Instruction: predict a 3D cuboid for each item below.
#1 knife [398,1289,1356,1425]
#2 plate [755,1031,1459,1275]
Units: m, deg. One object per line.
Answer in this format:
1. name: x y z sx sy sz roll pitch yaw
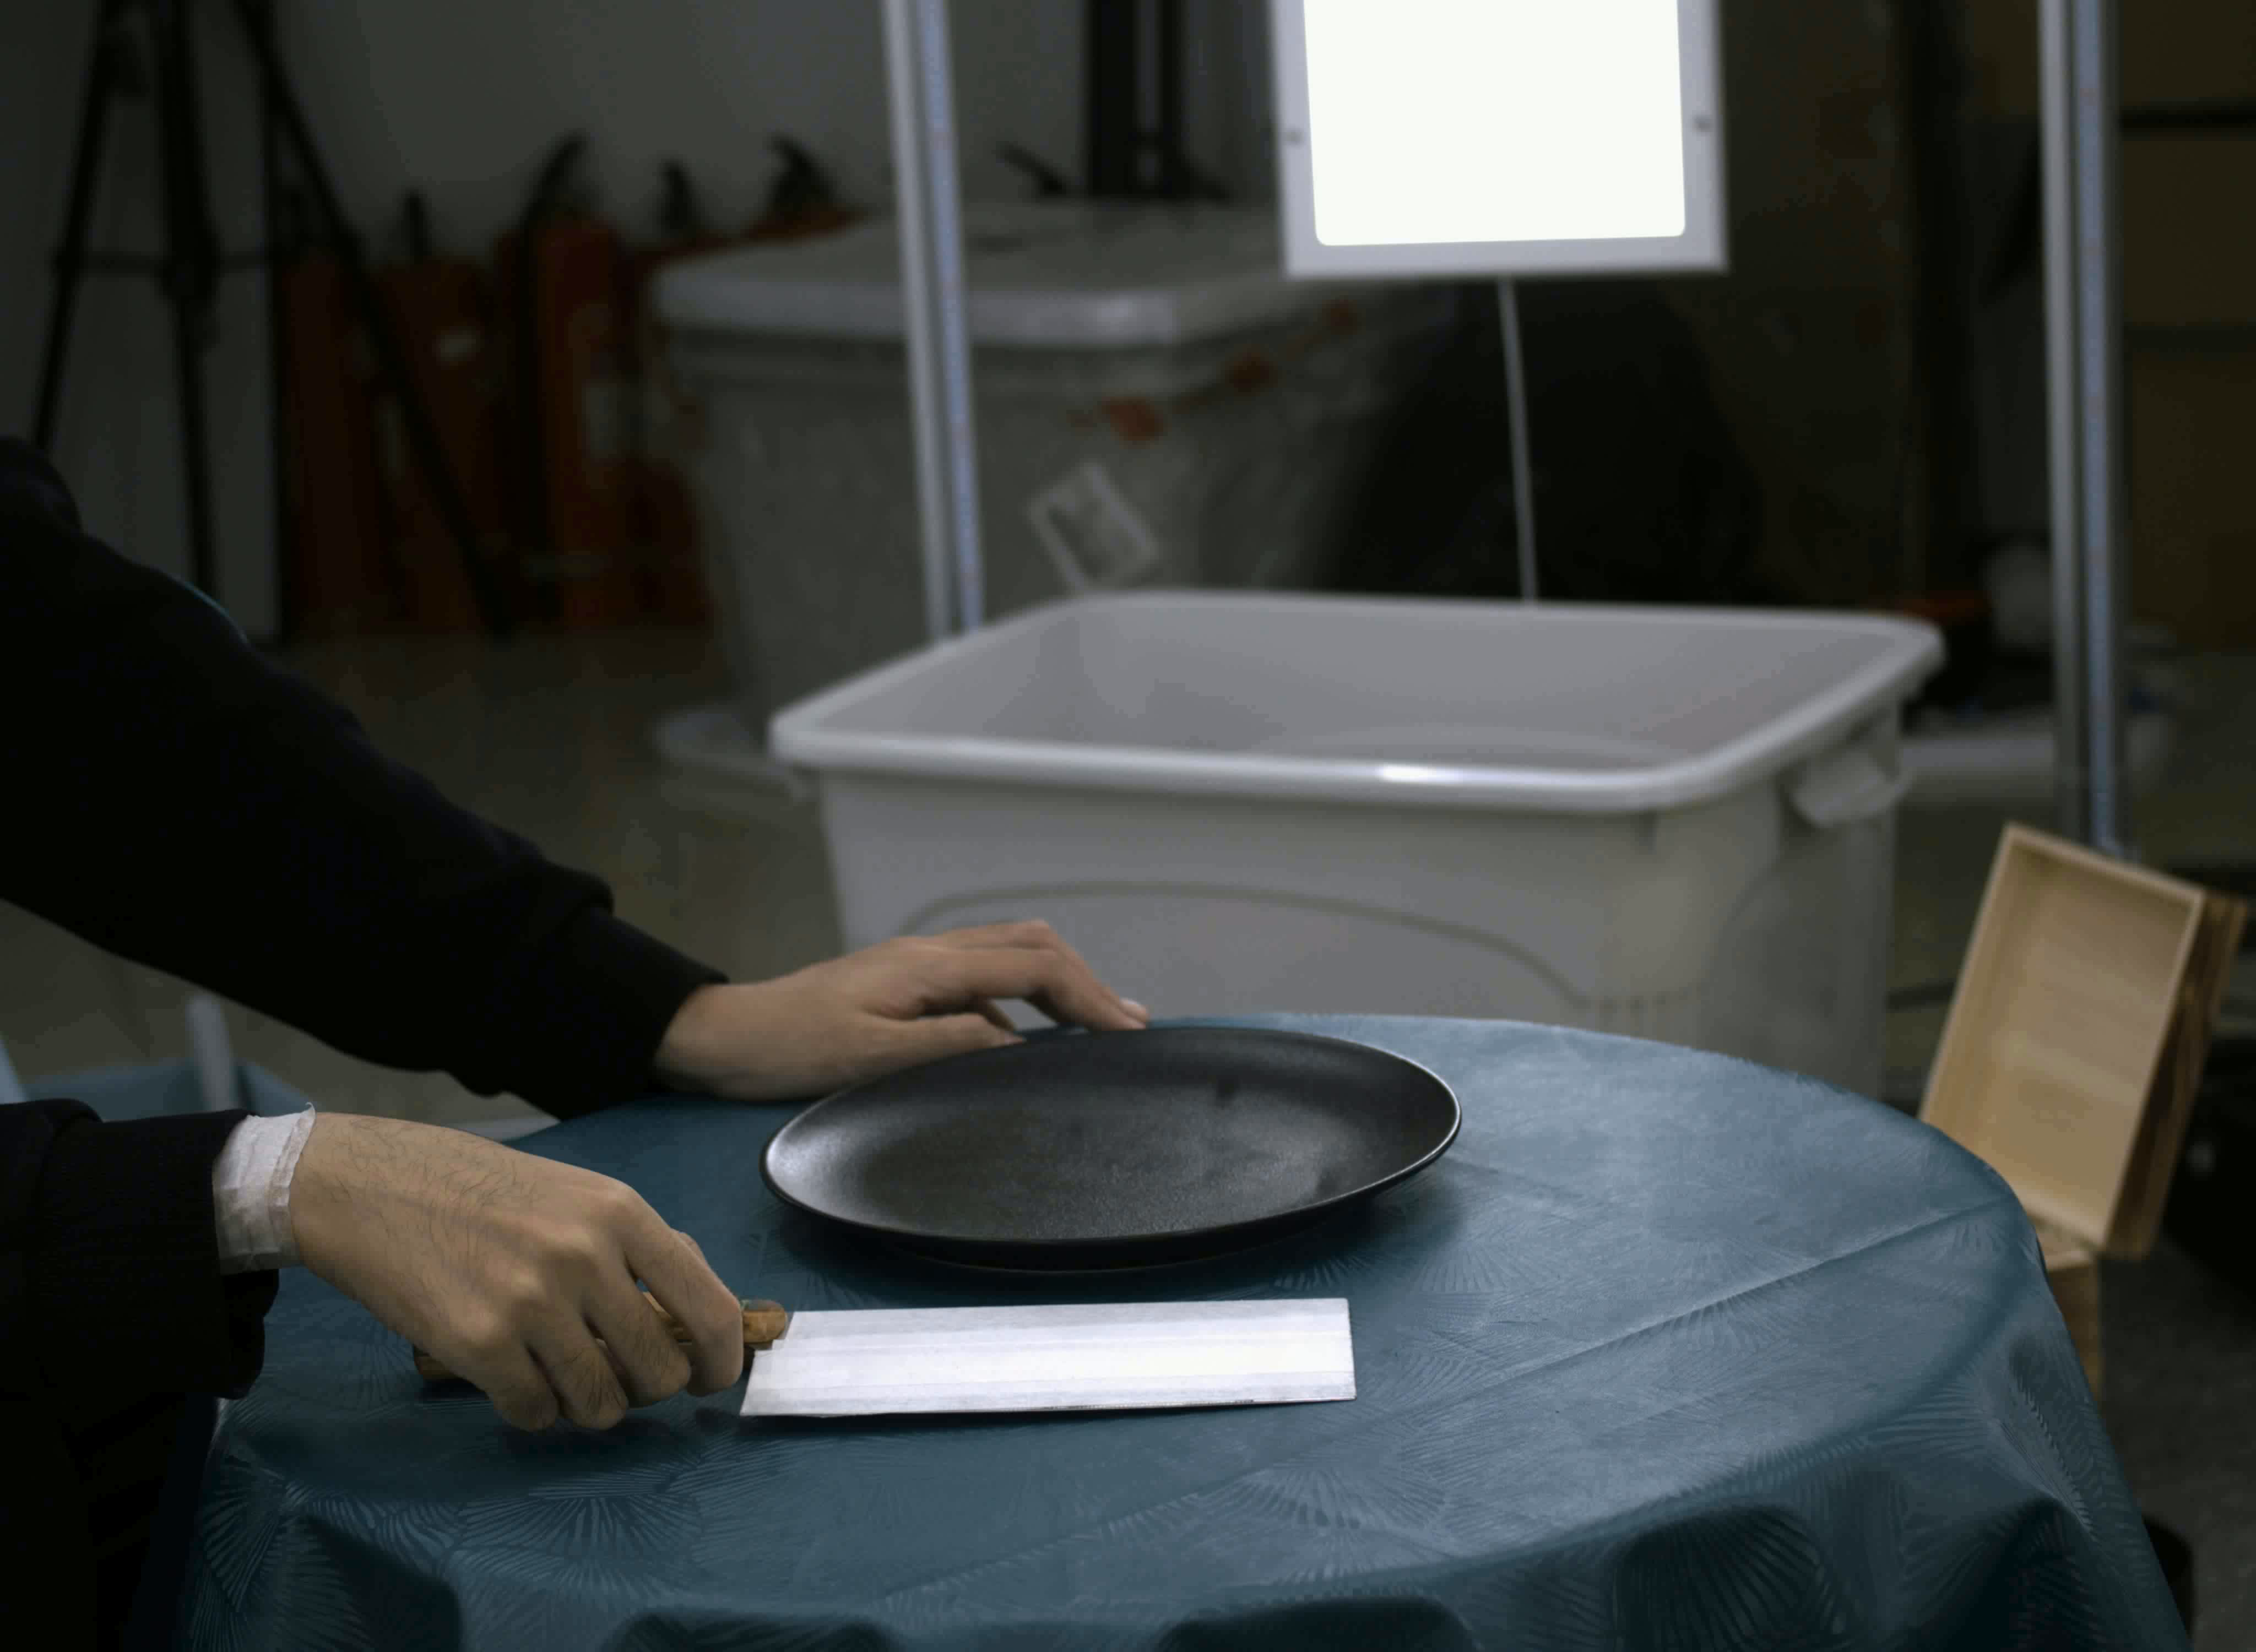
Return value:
1. knife: -0.081 0.167 1.729 0.306 0.021 0.092 -2 15 4
2. plate: -0.006 0.115 1.897 0.244 0.023 0.244 -5 14 0
